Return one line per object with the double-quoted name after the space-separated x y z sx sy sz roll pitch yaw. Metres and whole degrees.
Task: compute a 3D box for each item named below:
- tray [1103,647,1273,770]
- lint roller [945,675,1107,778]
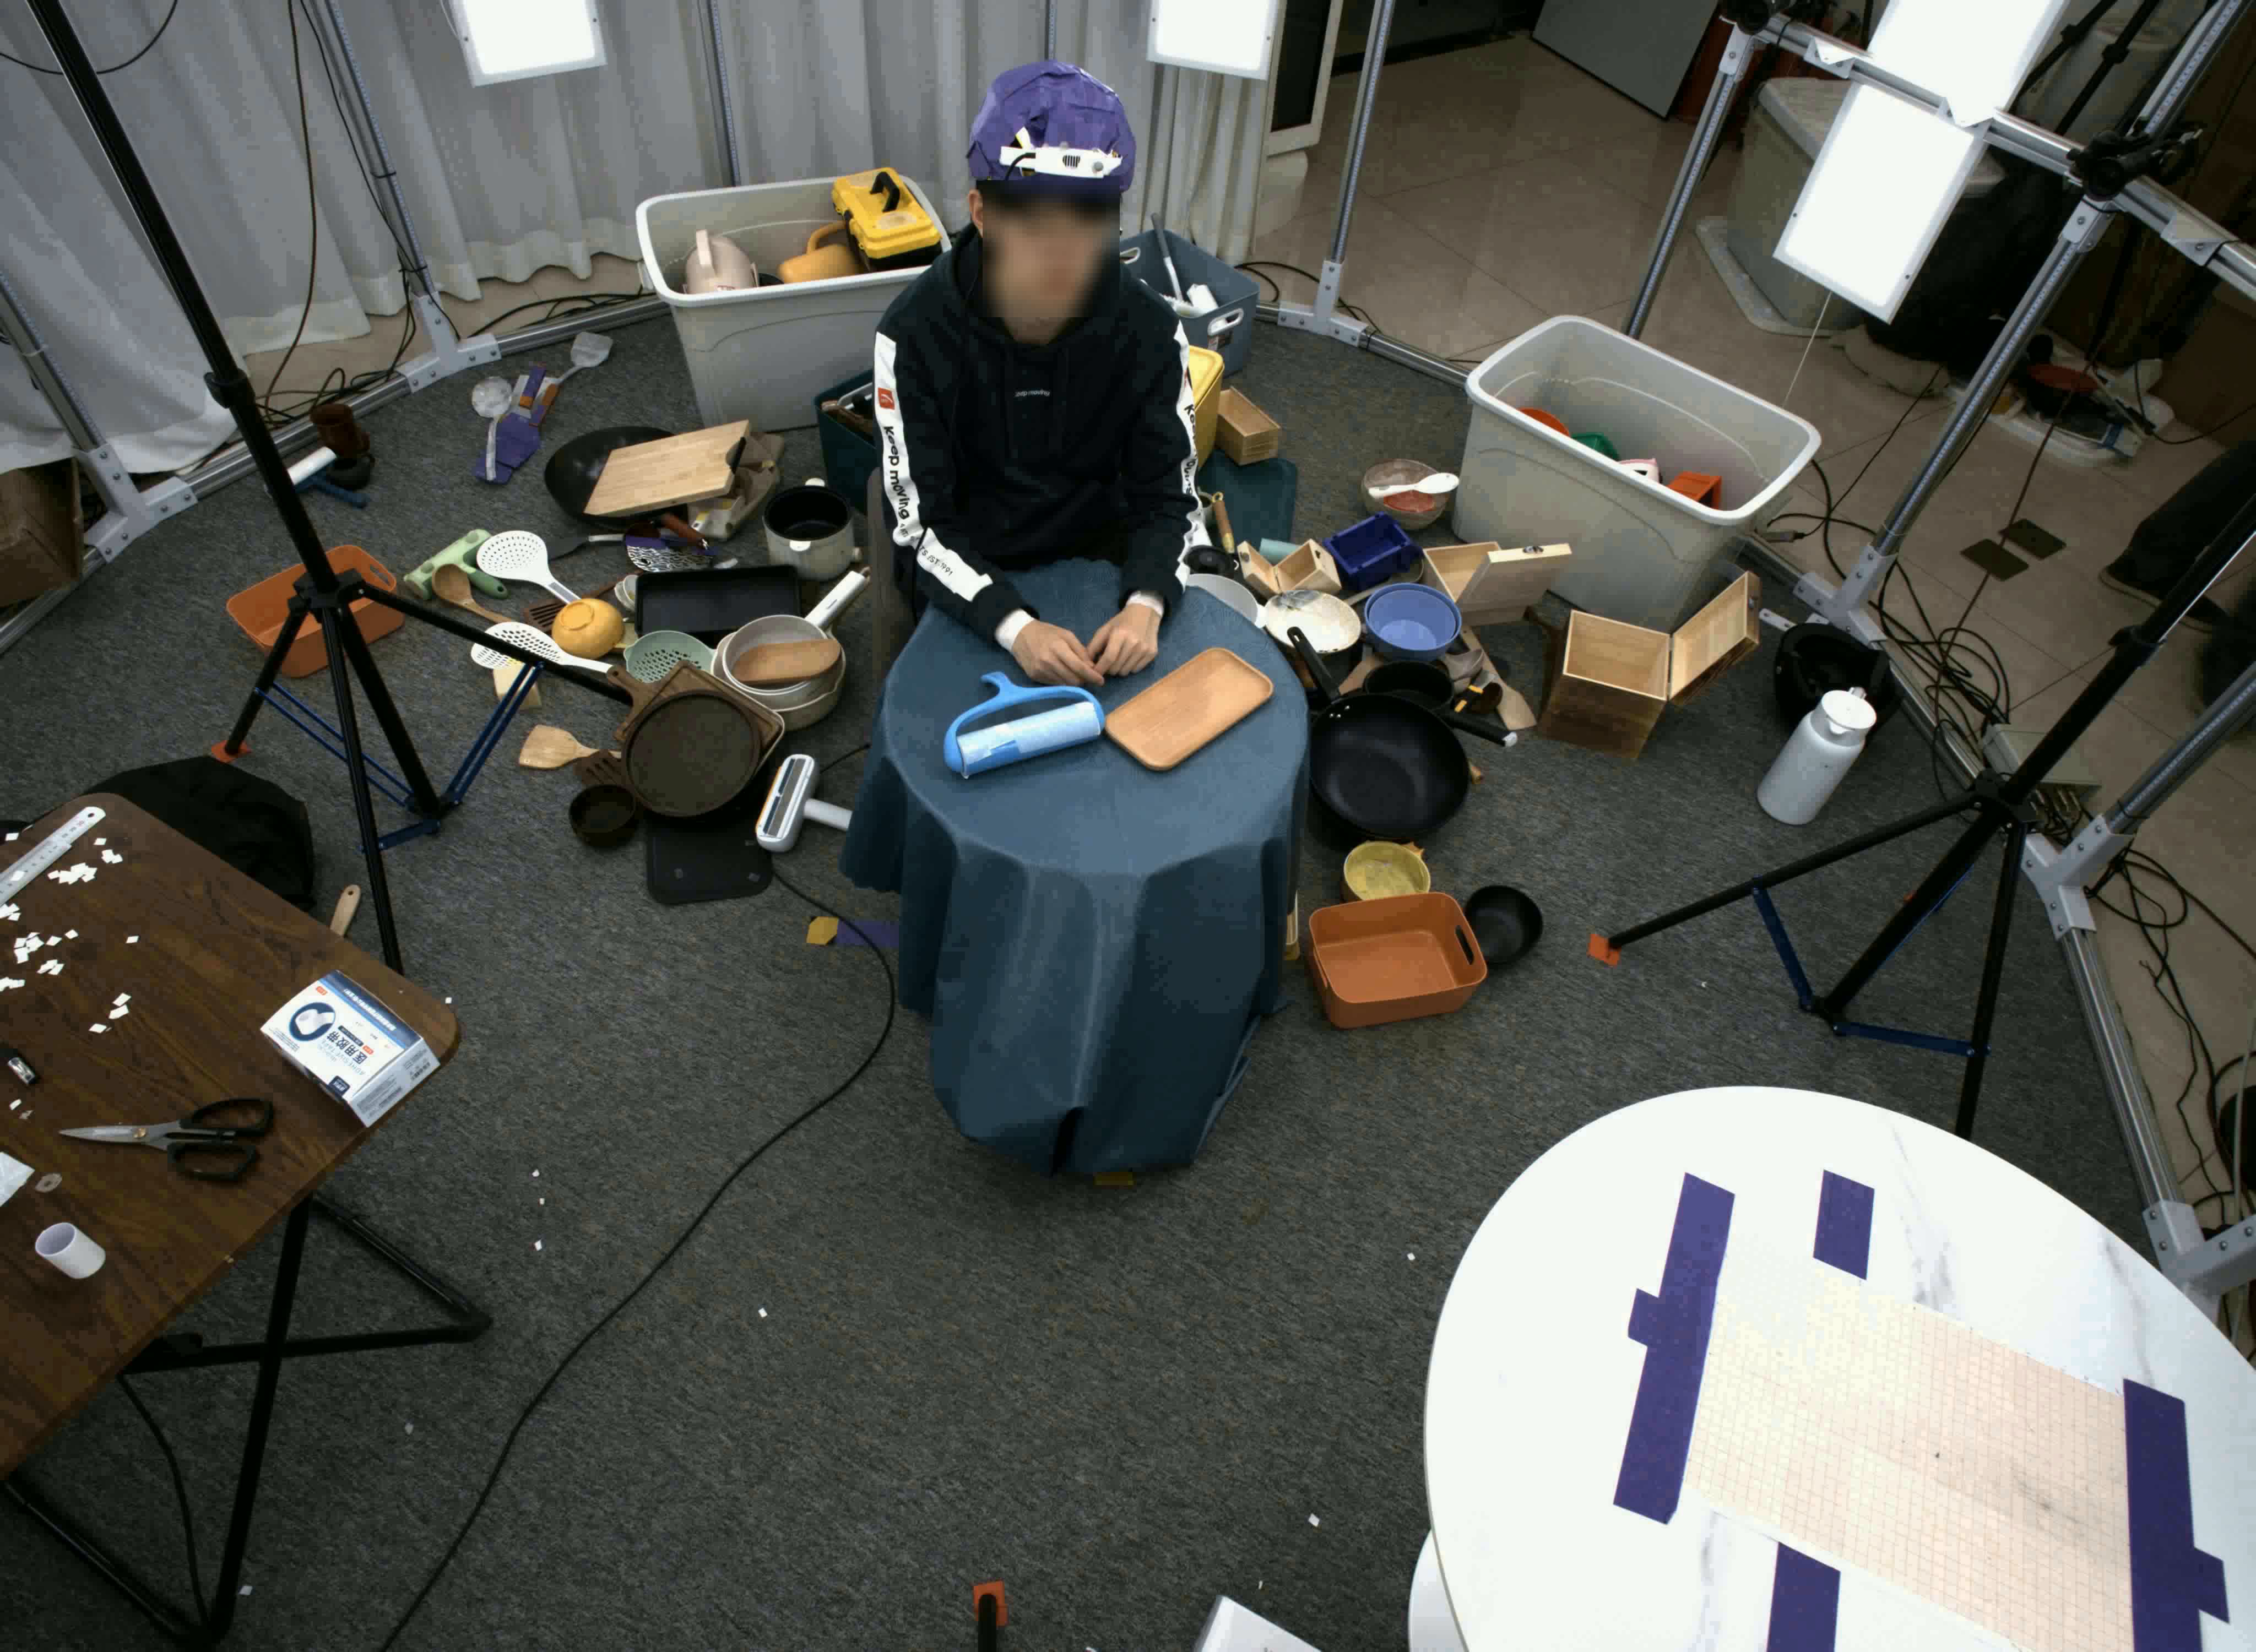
0.086 -0.167 1.807 0.253 0.022 0.132 -35 57 -28 "tray"
-0.161 -0.160 1.760 0.229 0.066 0.184 -20 54 -18 "lint roller"
